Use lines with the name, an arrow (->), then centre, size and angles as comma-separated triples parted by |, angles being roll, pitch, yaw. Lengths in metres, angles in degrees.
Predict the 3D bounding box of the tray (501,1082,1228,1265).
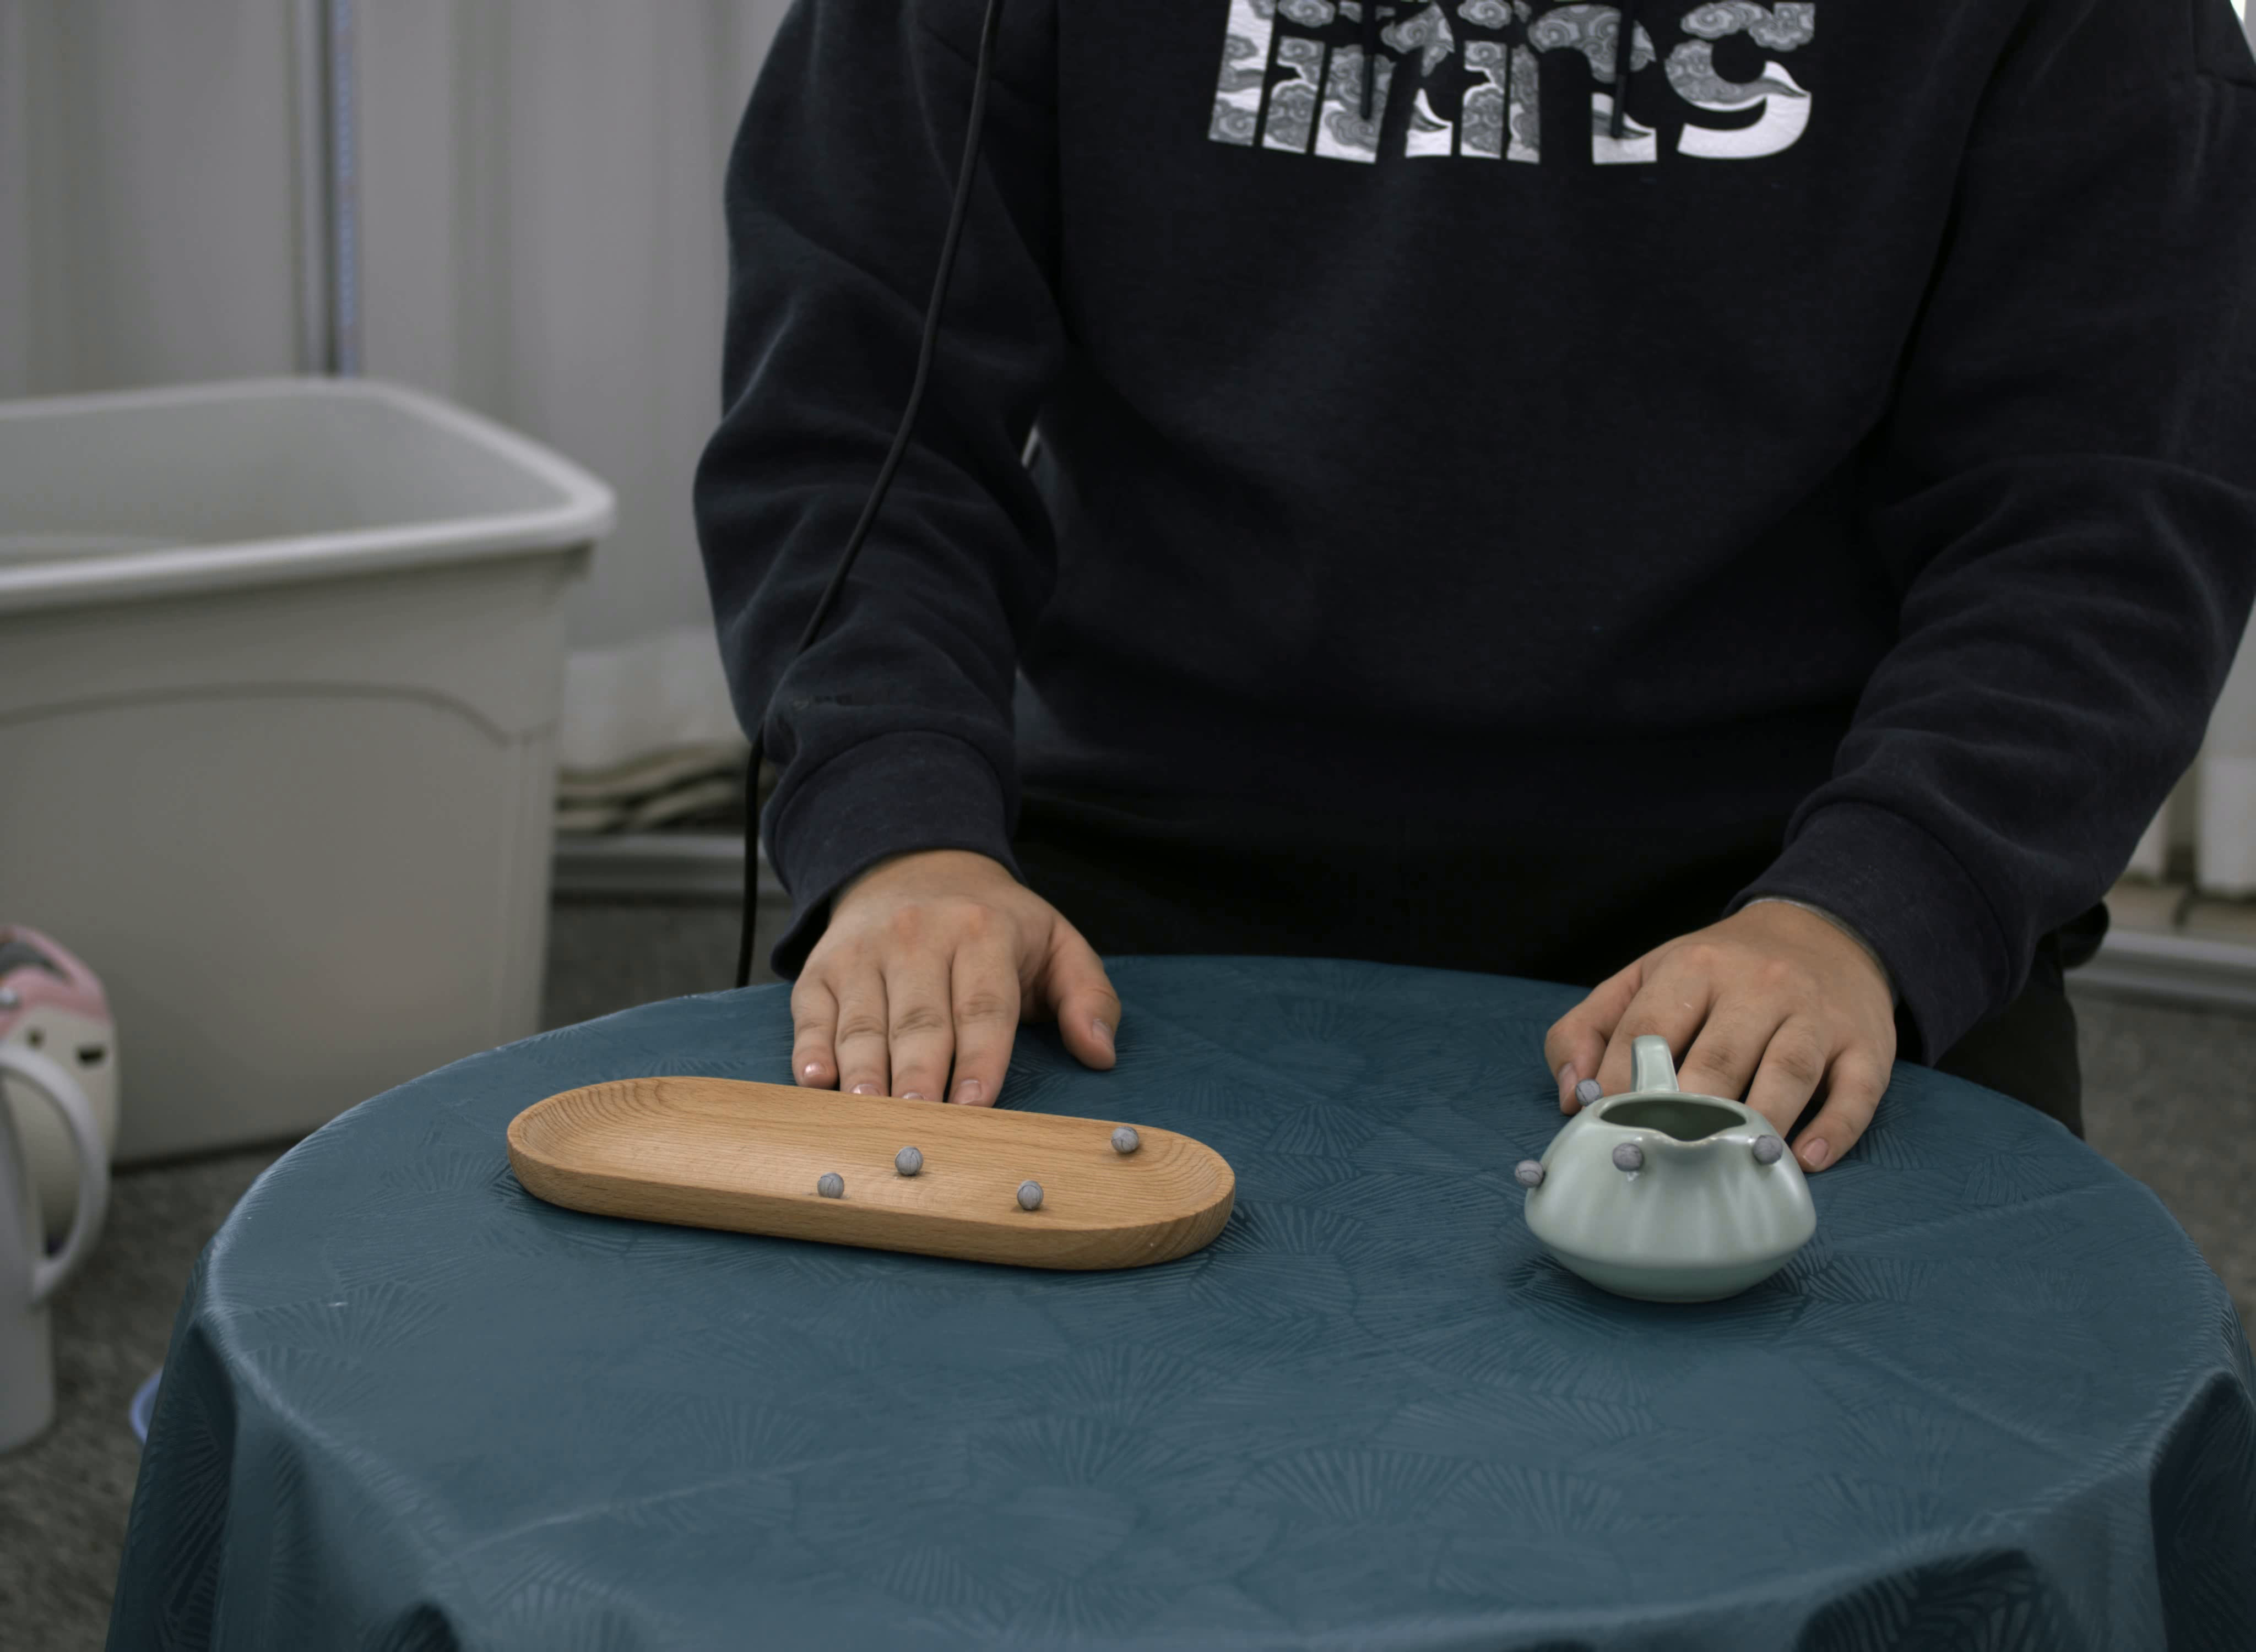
tray -> -0.082, 0.106, 1.616 | 0.229, 0.020, 0.102 | 3, 14, 16

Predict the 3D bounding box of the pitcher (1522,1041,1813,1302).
pitcher -> 0.159, 0.103, 1.564 | 0.086, 0.061, 0.107 | 1, 13, -4
